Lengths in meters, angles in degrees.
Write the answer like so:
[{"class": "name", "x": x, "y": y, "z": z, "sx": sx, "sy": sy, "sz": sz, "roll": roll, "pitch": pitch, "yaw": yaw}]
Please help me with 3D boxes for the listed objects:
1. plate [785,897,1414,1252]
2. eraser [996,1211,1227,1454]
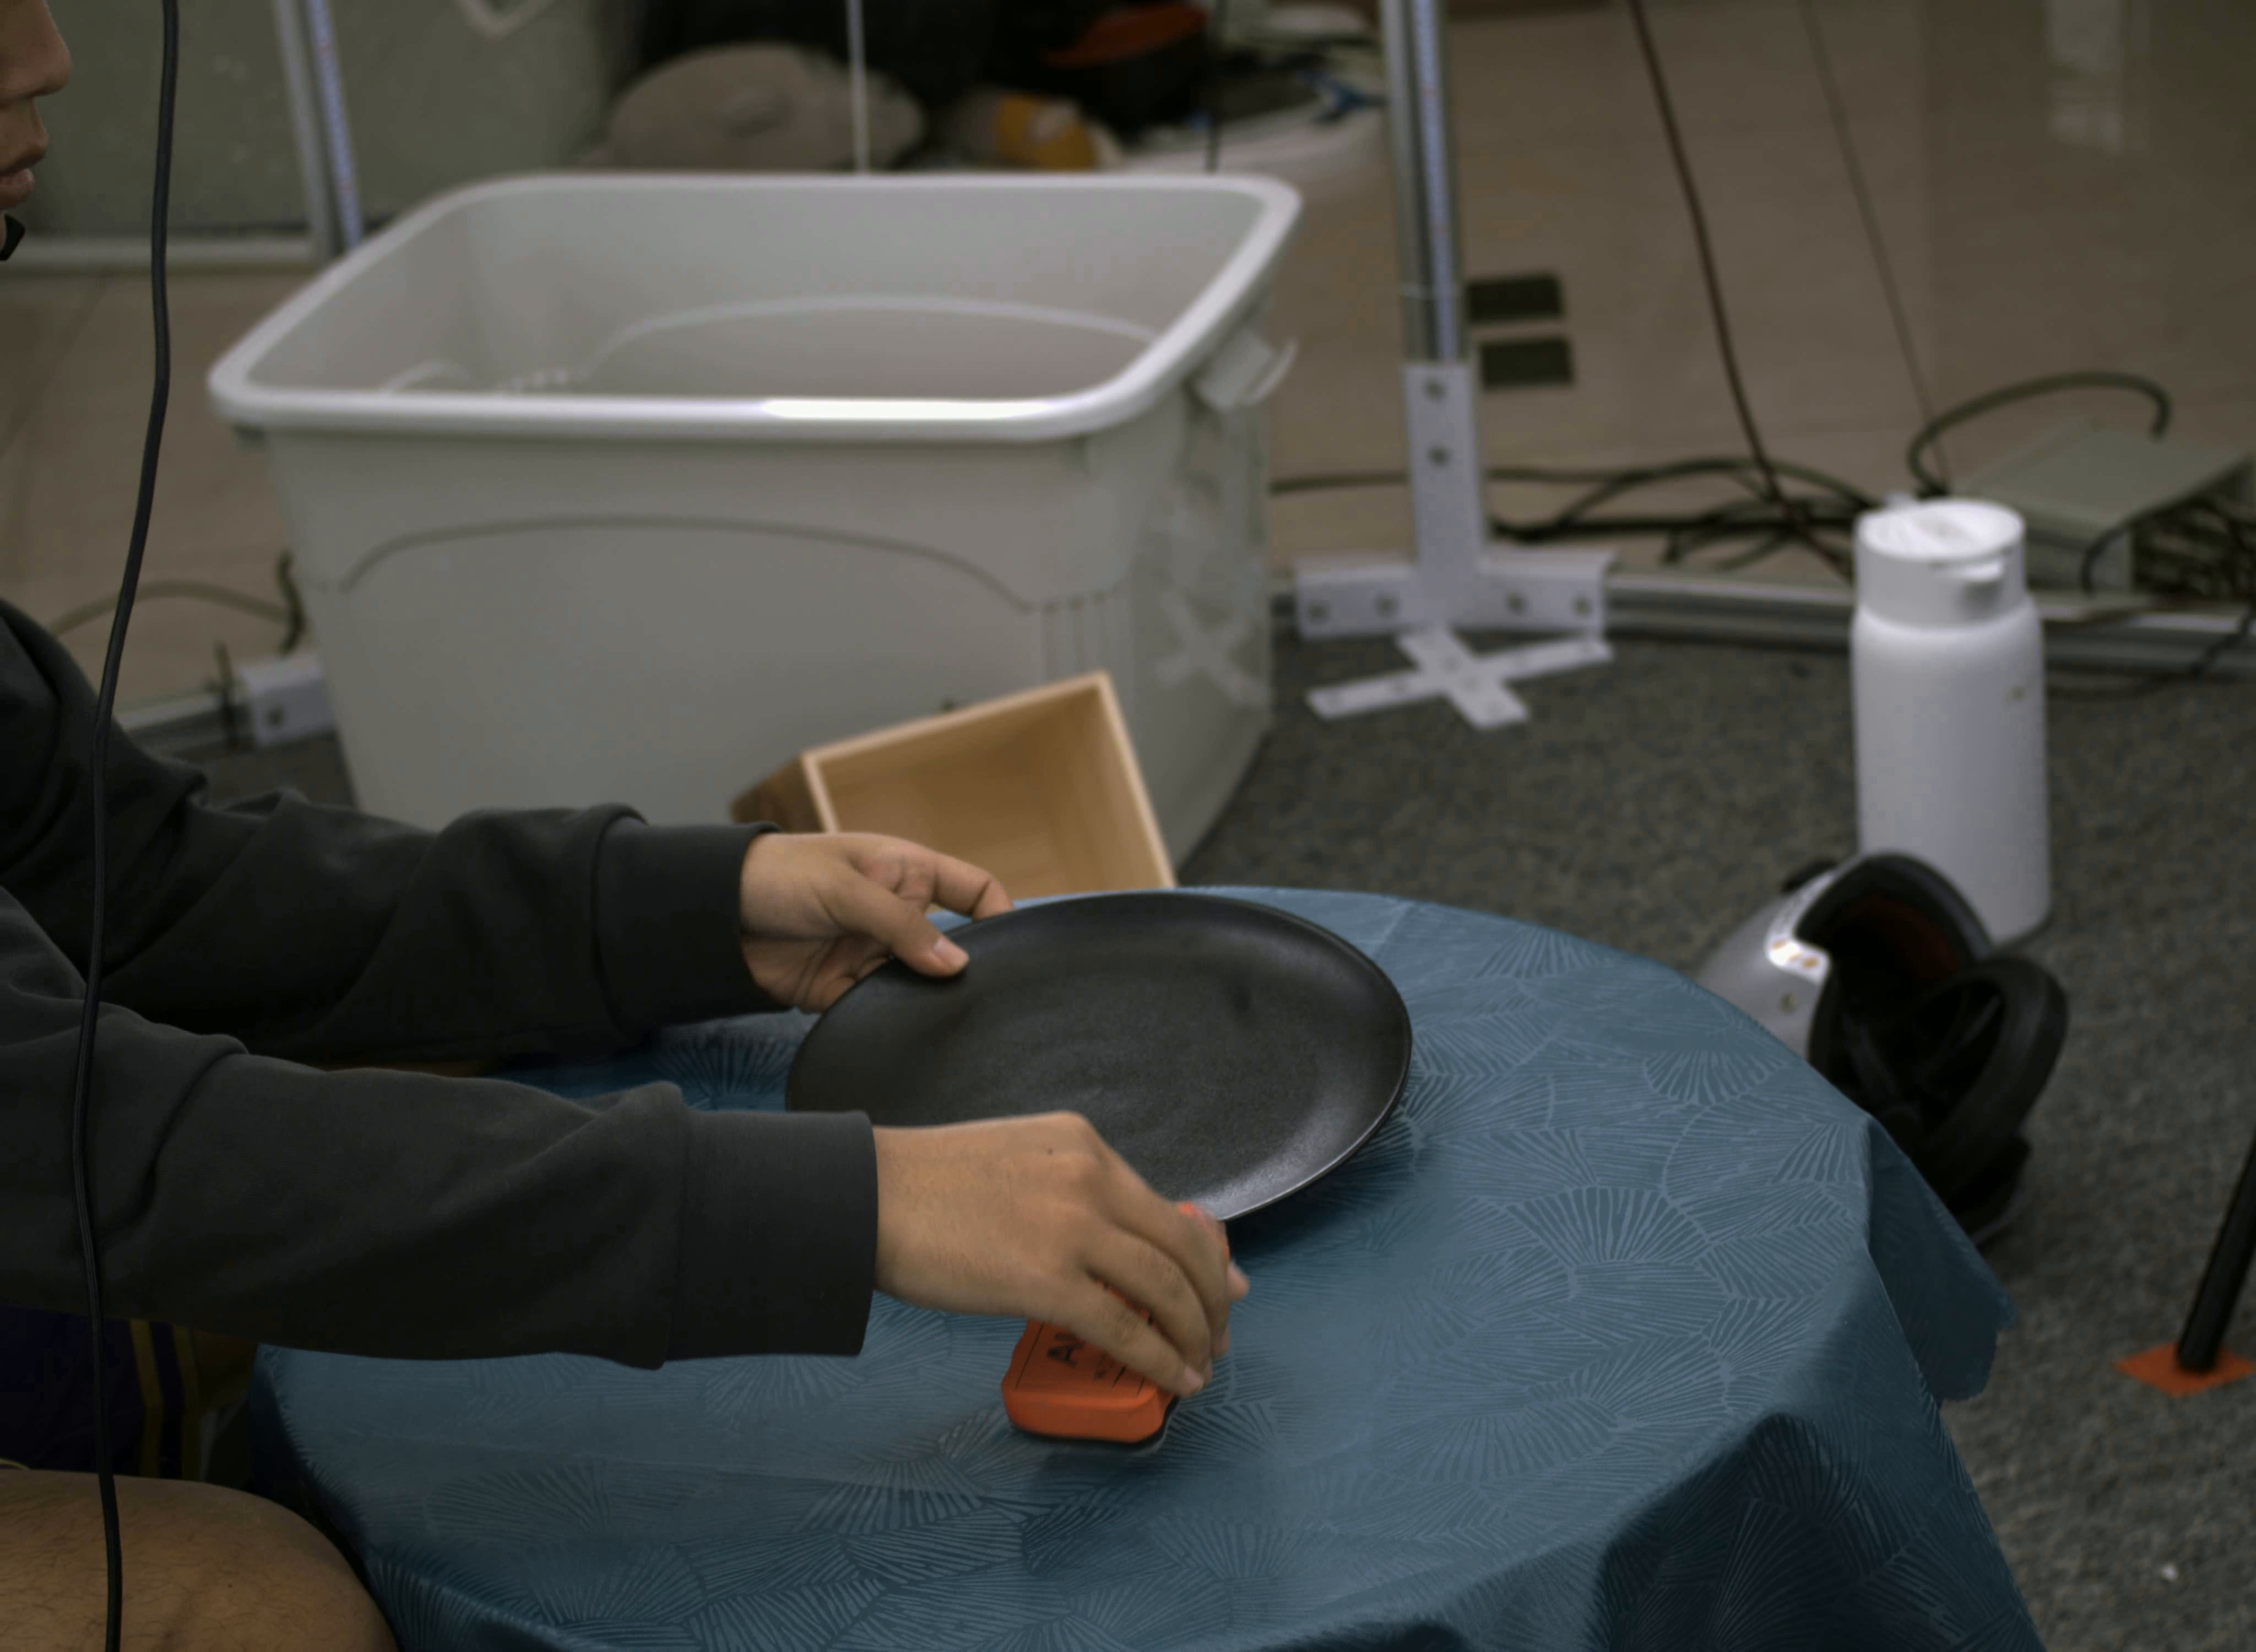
[{"class": "plate", "x": -0.011, "y": 0.100, "z": 2.184, "sx": 0.244, "sy": 0.024, "sz": 0.240, "roll": -5, "pitch": 31, "yaw": 3}, {"class": "eraser", "x": -0.005, "y": 0.177, "z": 1.990, "sx": 0.059, "sy": 0.023, "sz": 0.106, "roll": 3, "pitch": 35, "yaw": 18}]
